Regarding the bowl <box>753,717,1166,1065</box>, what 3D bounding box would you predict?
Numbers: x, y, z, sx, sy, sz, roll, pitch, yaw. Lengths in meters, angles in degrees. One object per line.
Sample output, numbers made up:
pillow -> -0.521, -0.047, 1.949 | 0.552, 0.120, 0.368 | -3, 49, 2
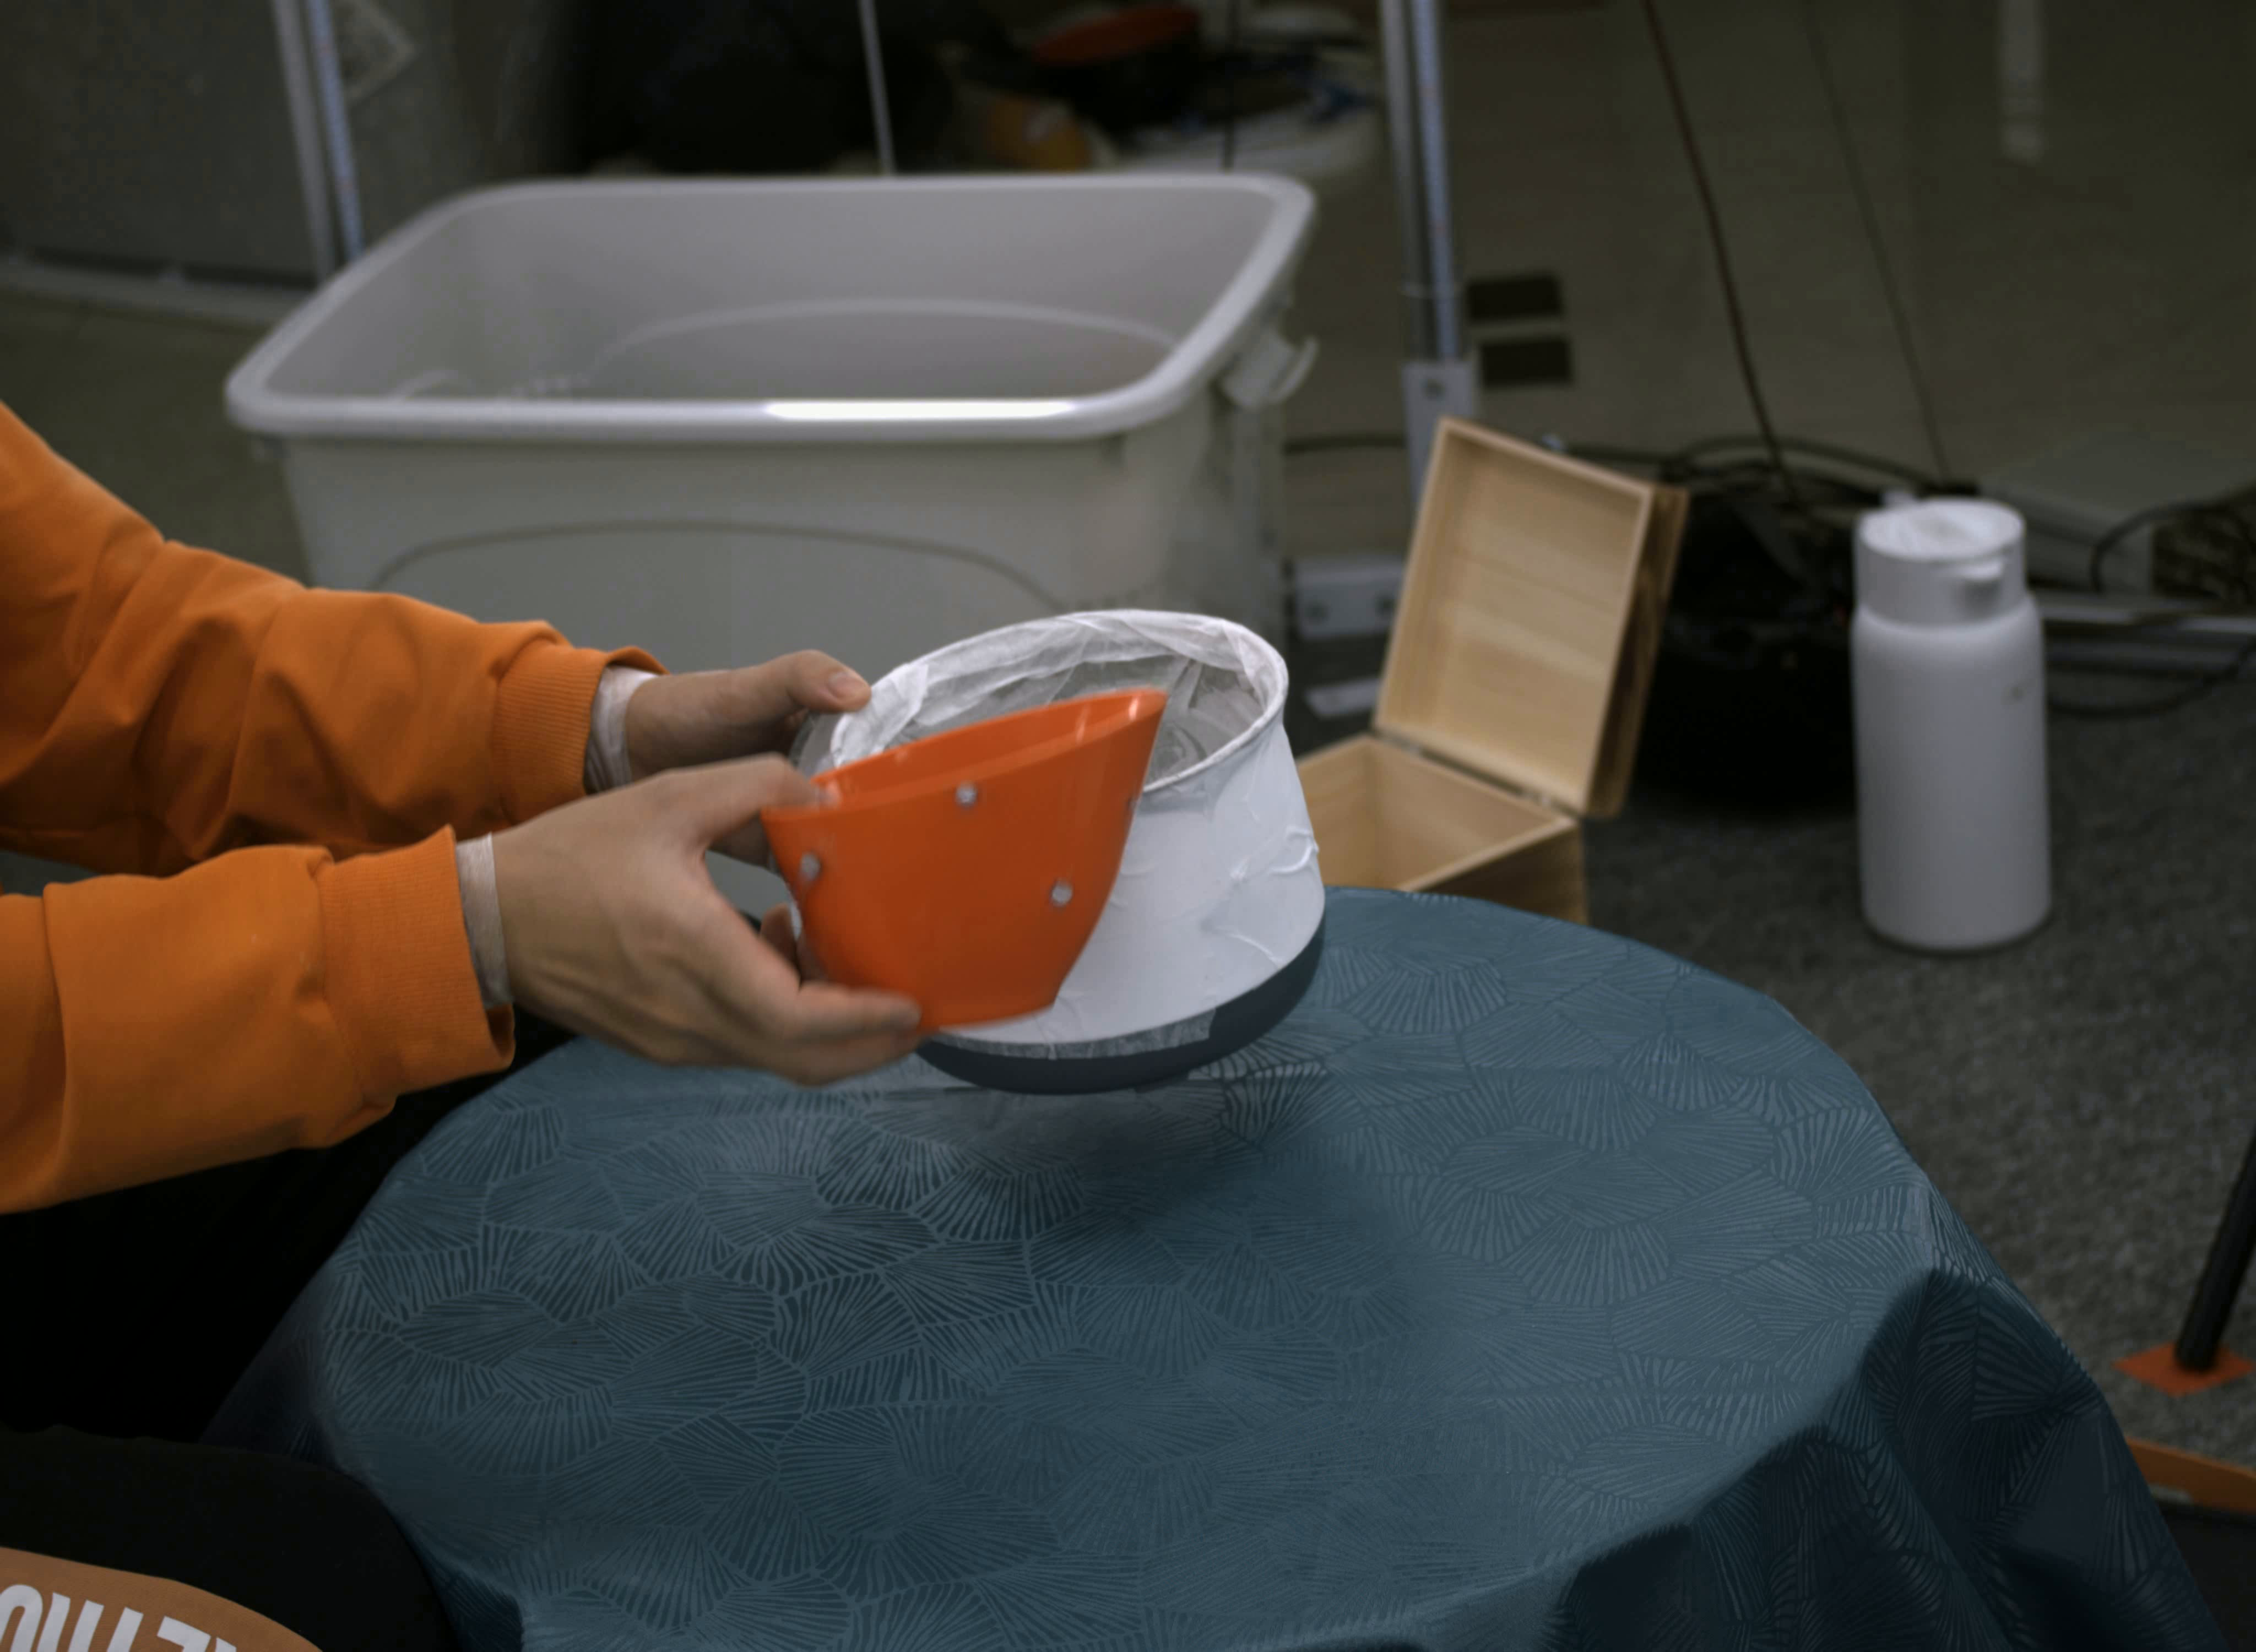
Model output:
bowl -> -0.054, 0.025, 1.967 | 0.148, 0.105, 0.147 | -7, 9, 1

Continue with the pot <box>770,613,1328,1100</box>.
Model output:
pot -> -0.040, 0.012, 2.185 | 0.233, 0.139, 0.176 | 5, 30, 28
